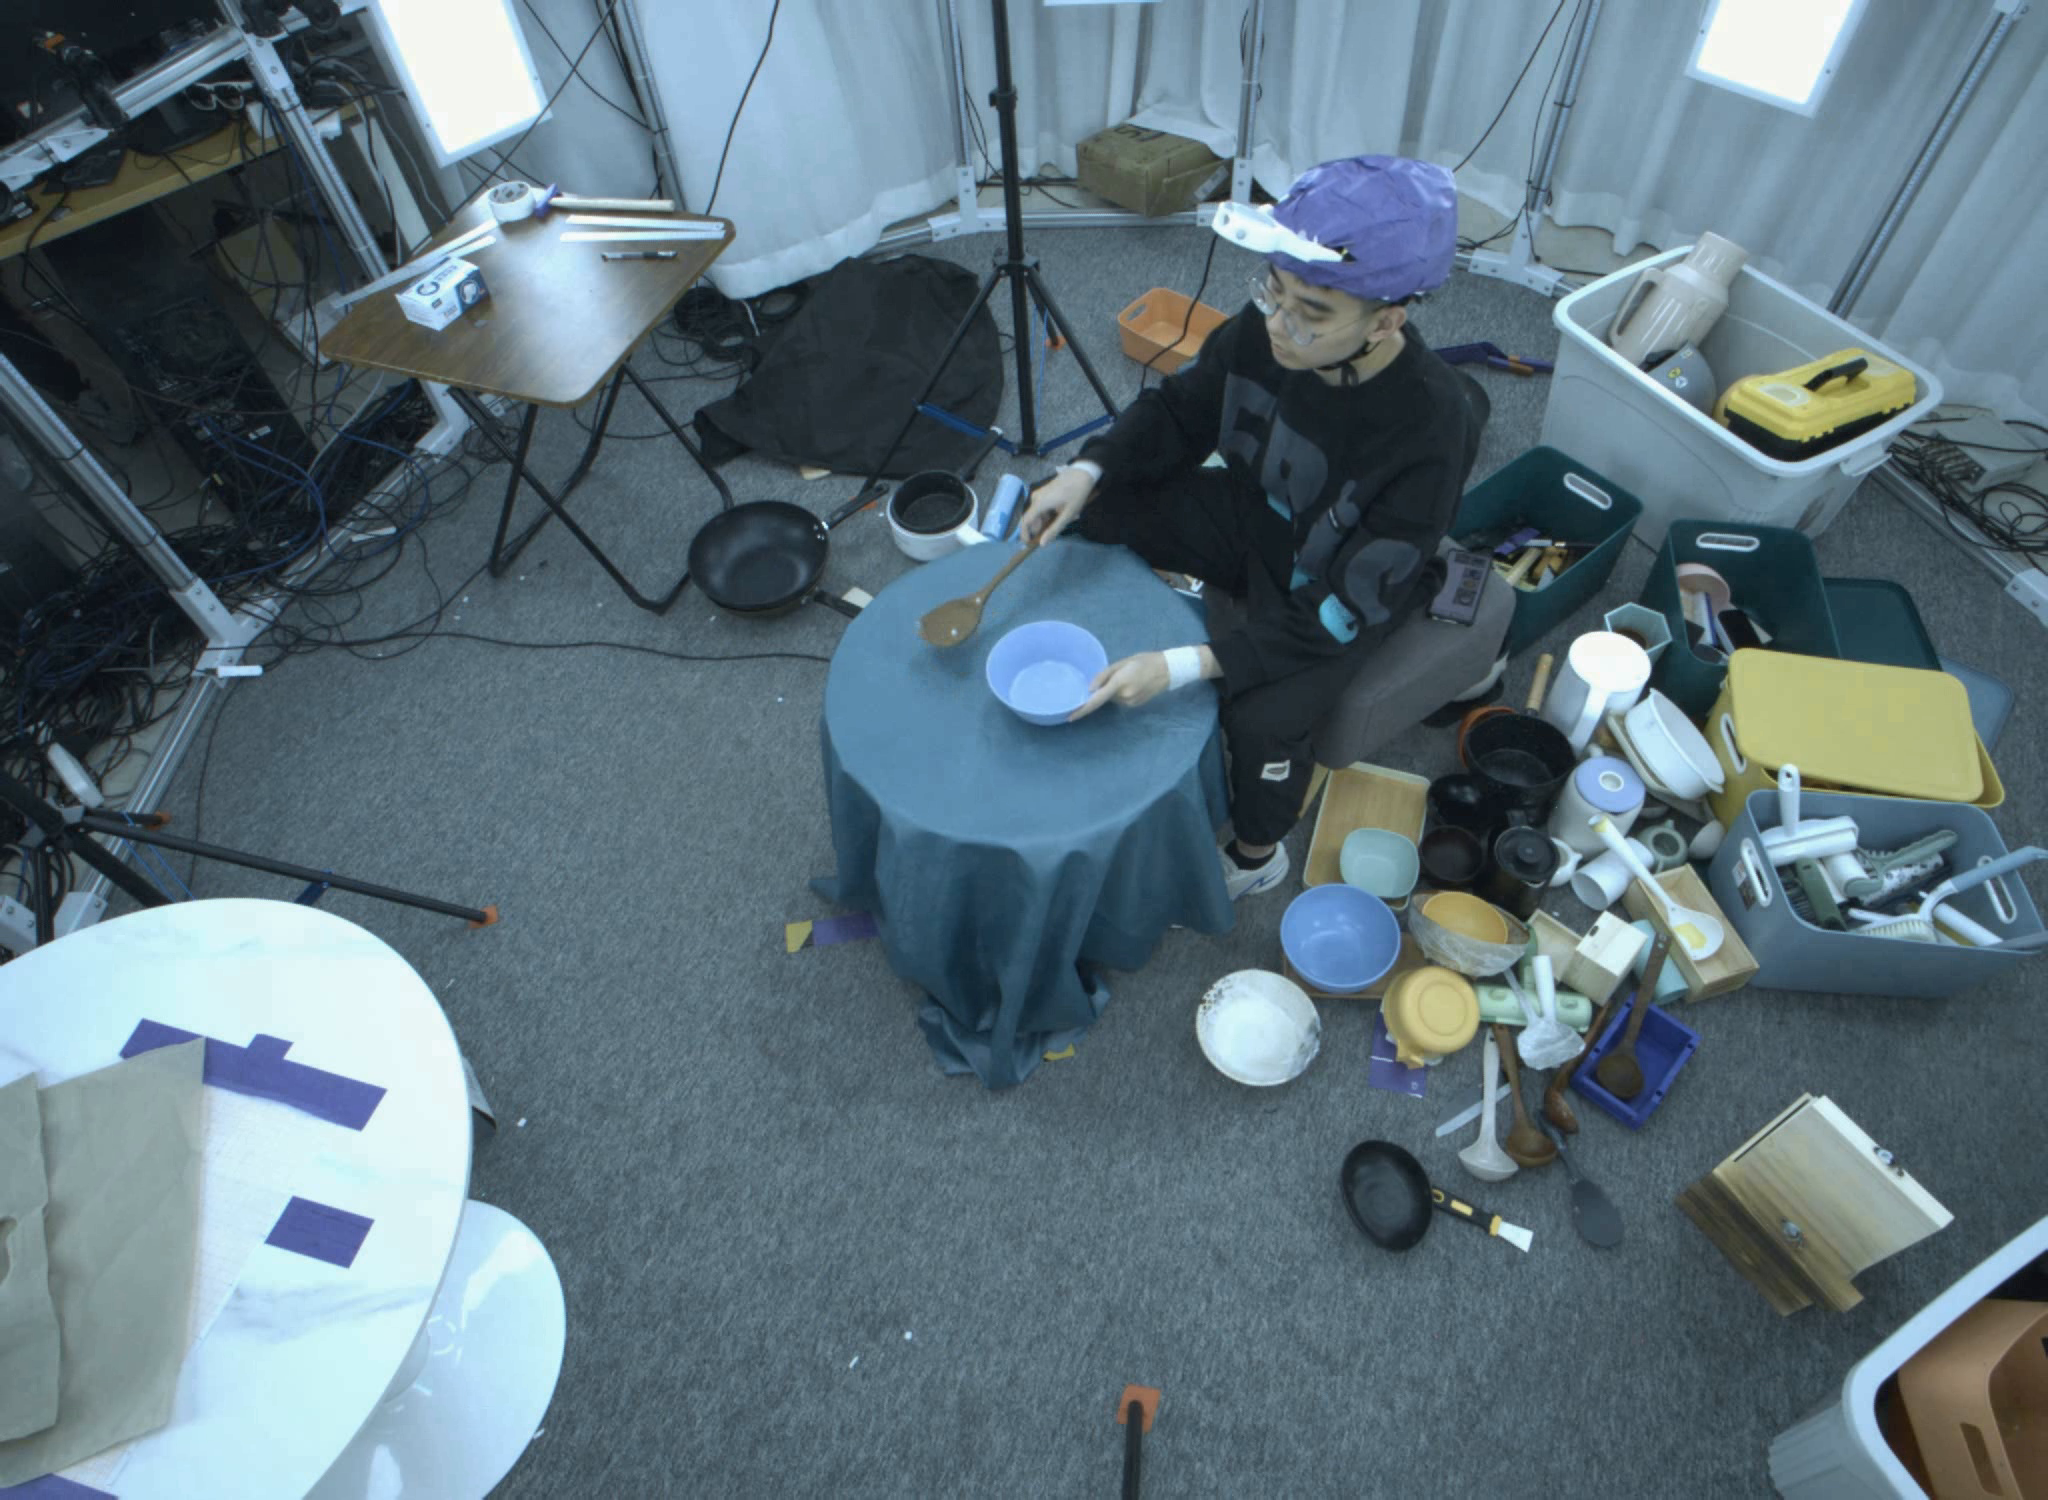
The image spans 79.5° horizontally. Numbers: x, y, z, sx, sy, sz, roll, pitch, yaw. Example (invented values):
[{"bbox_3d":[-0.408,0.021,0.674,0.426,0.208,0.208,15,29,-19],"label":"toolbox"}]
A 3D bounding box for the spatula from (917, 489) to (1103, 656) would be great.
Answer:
[{"bbox_3d":[-0.011,-0.284,1.904,0.094,0.016,0.387,34,72,34],"label":"spatula"}]

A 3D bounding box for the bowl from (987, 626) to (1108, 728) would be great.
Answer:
[{"bbox_3d":[0.036,-0.098,1.811,0.176,0.071,0.174,0,55,1],"label":"bowl"}]
